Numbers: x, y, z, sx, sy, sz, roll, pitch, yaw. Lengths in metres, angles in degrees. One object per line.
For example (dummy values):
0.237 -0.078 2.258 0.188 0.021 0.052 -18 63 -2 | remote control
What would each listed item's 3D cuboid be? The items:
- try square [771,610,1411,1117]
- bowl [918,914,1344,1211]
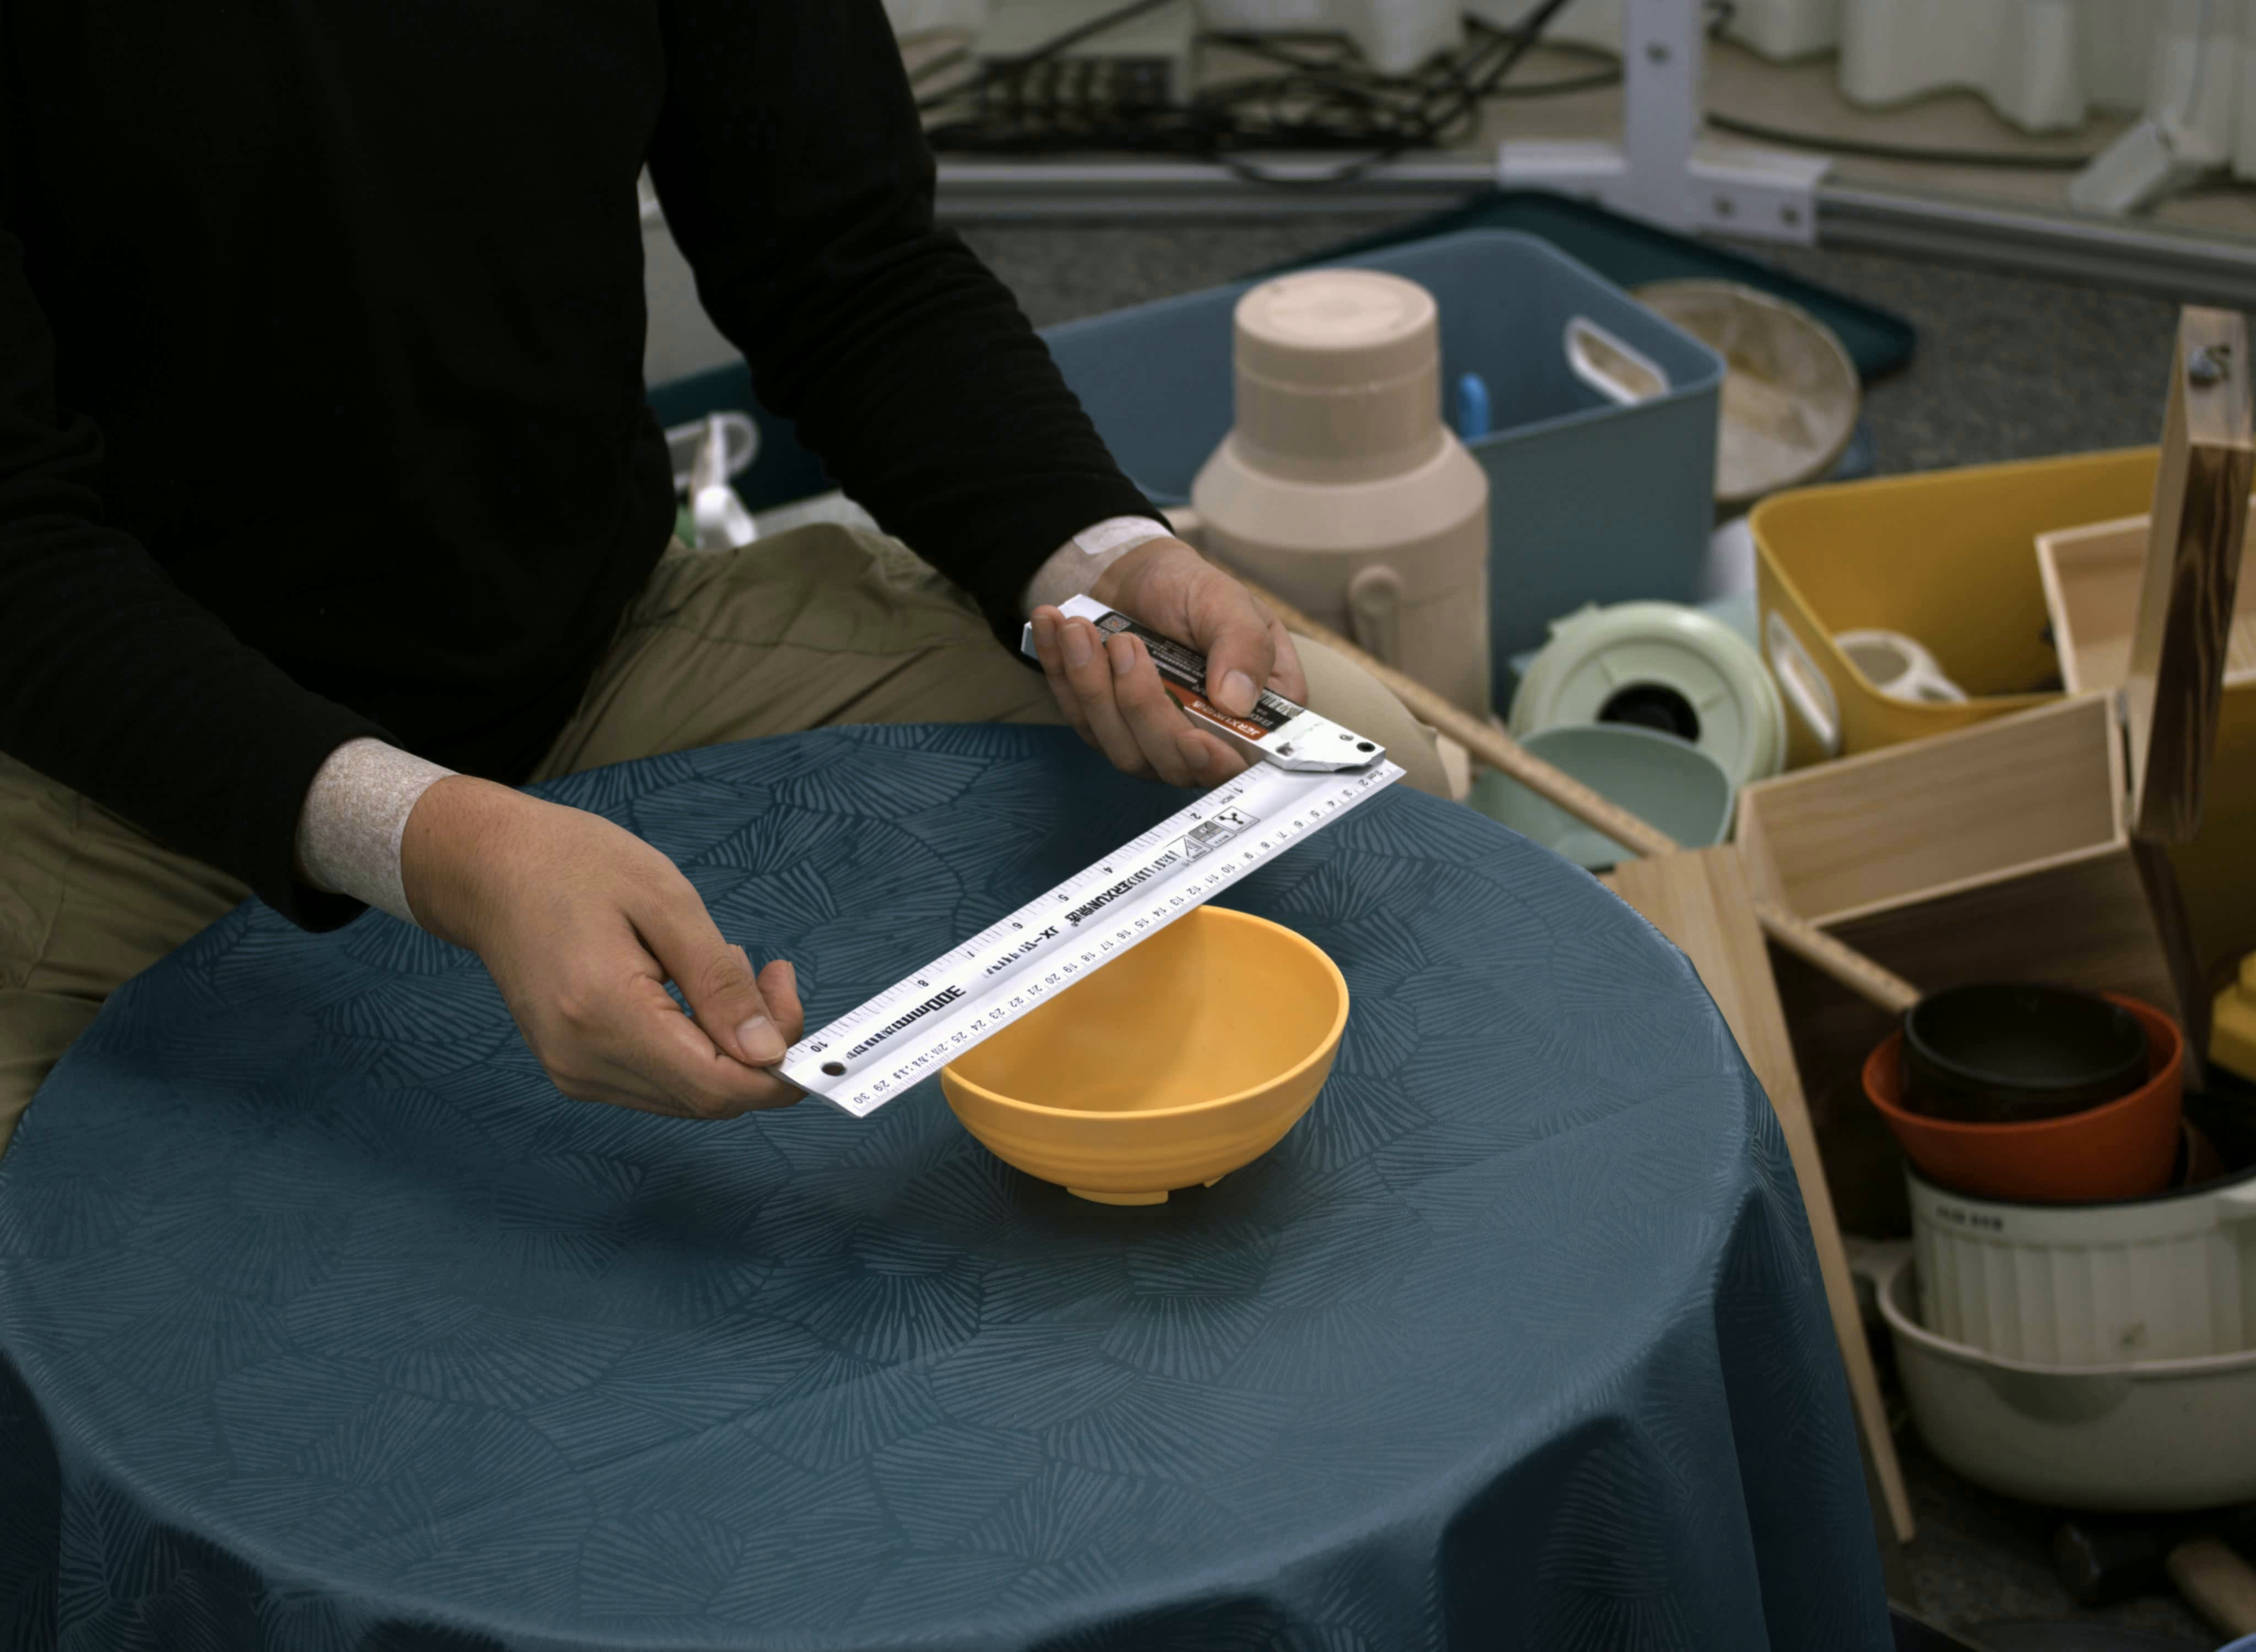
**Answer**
-0.049 0.008 1.932 0.152 0.015 0.317 25 35 28 | try square
0.000 0.086 1.868 0.144 0.059 0.147 -1 25 1 | bowl
